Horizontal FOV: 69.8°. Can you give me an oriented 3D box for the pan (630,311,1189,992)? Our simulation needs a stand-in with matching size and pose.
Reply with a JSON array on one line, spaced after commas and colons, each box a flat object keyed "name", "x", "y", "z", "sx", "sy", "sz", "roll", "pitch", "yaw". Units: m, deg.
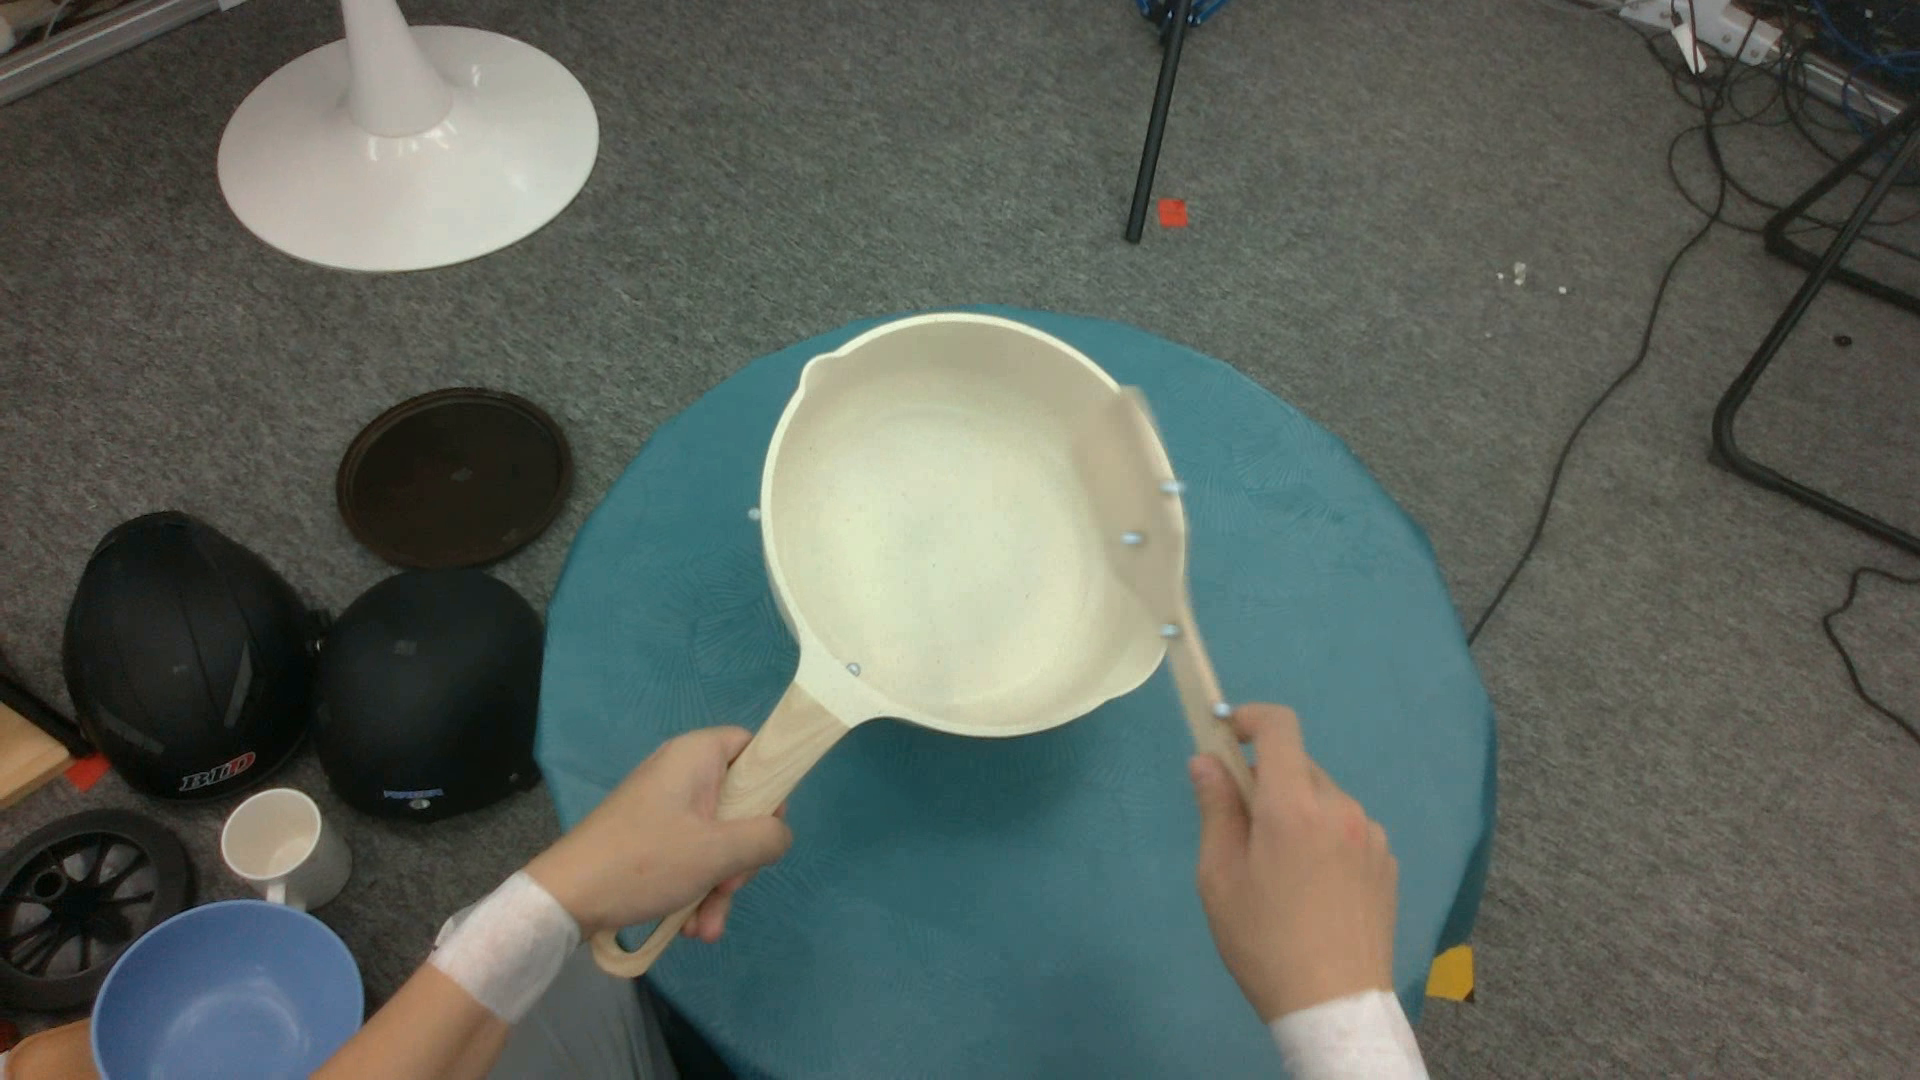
[{"name": "pan", "x": -0.044, "y": 0.061, "z": 0.781, "sx": 0.263, "sy": 0.101, "sz": 0.436, "roll": 40, "pitch": 67, "yaw": -4}]

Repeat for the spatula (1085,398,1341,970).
[{"name": "spatula", "x": 0.128, "y": 0.069, "z": 0.690, "sx": 0.011, "sy": 0.072, "sz": 0.293, "roll": -12, "pitch": 72, "yaw": -24}]
